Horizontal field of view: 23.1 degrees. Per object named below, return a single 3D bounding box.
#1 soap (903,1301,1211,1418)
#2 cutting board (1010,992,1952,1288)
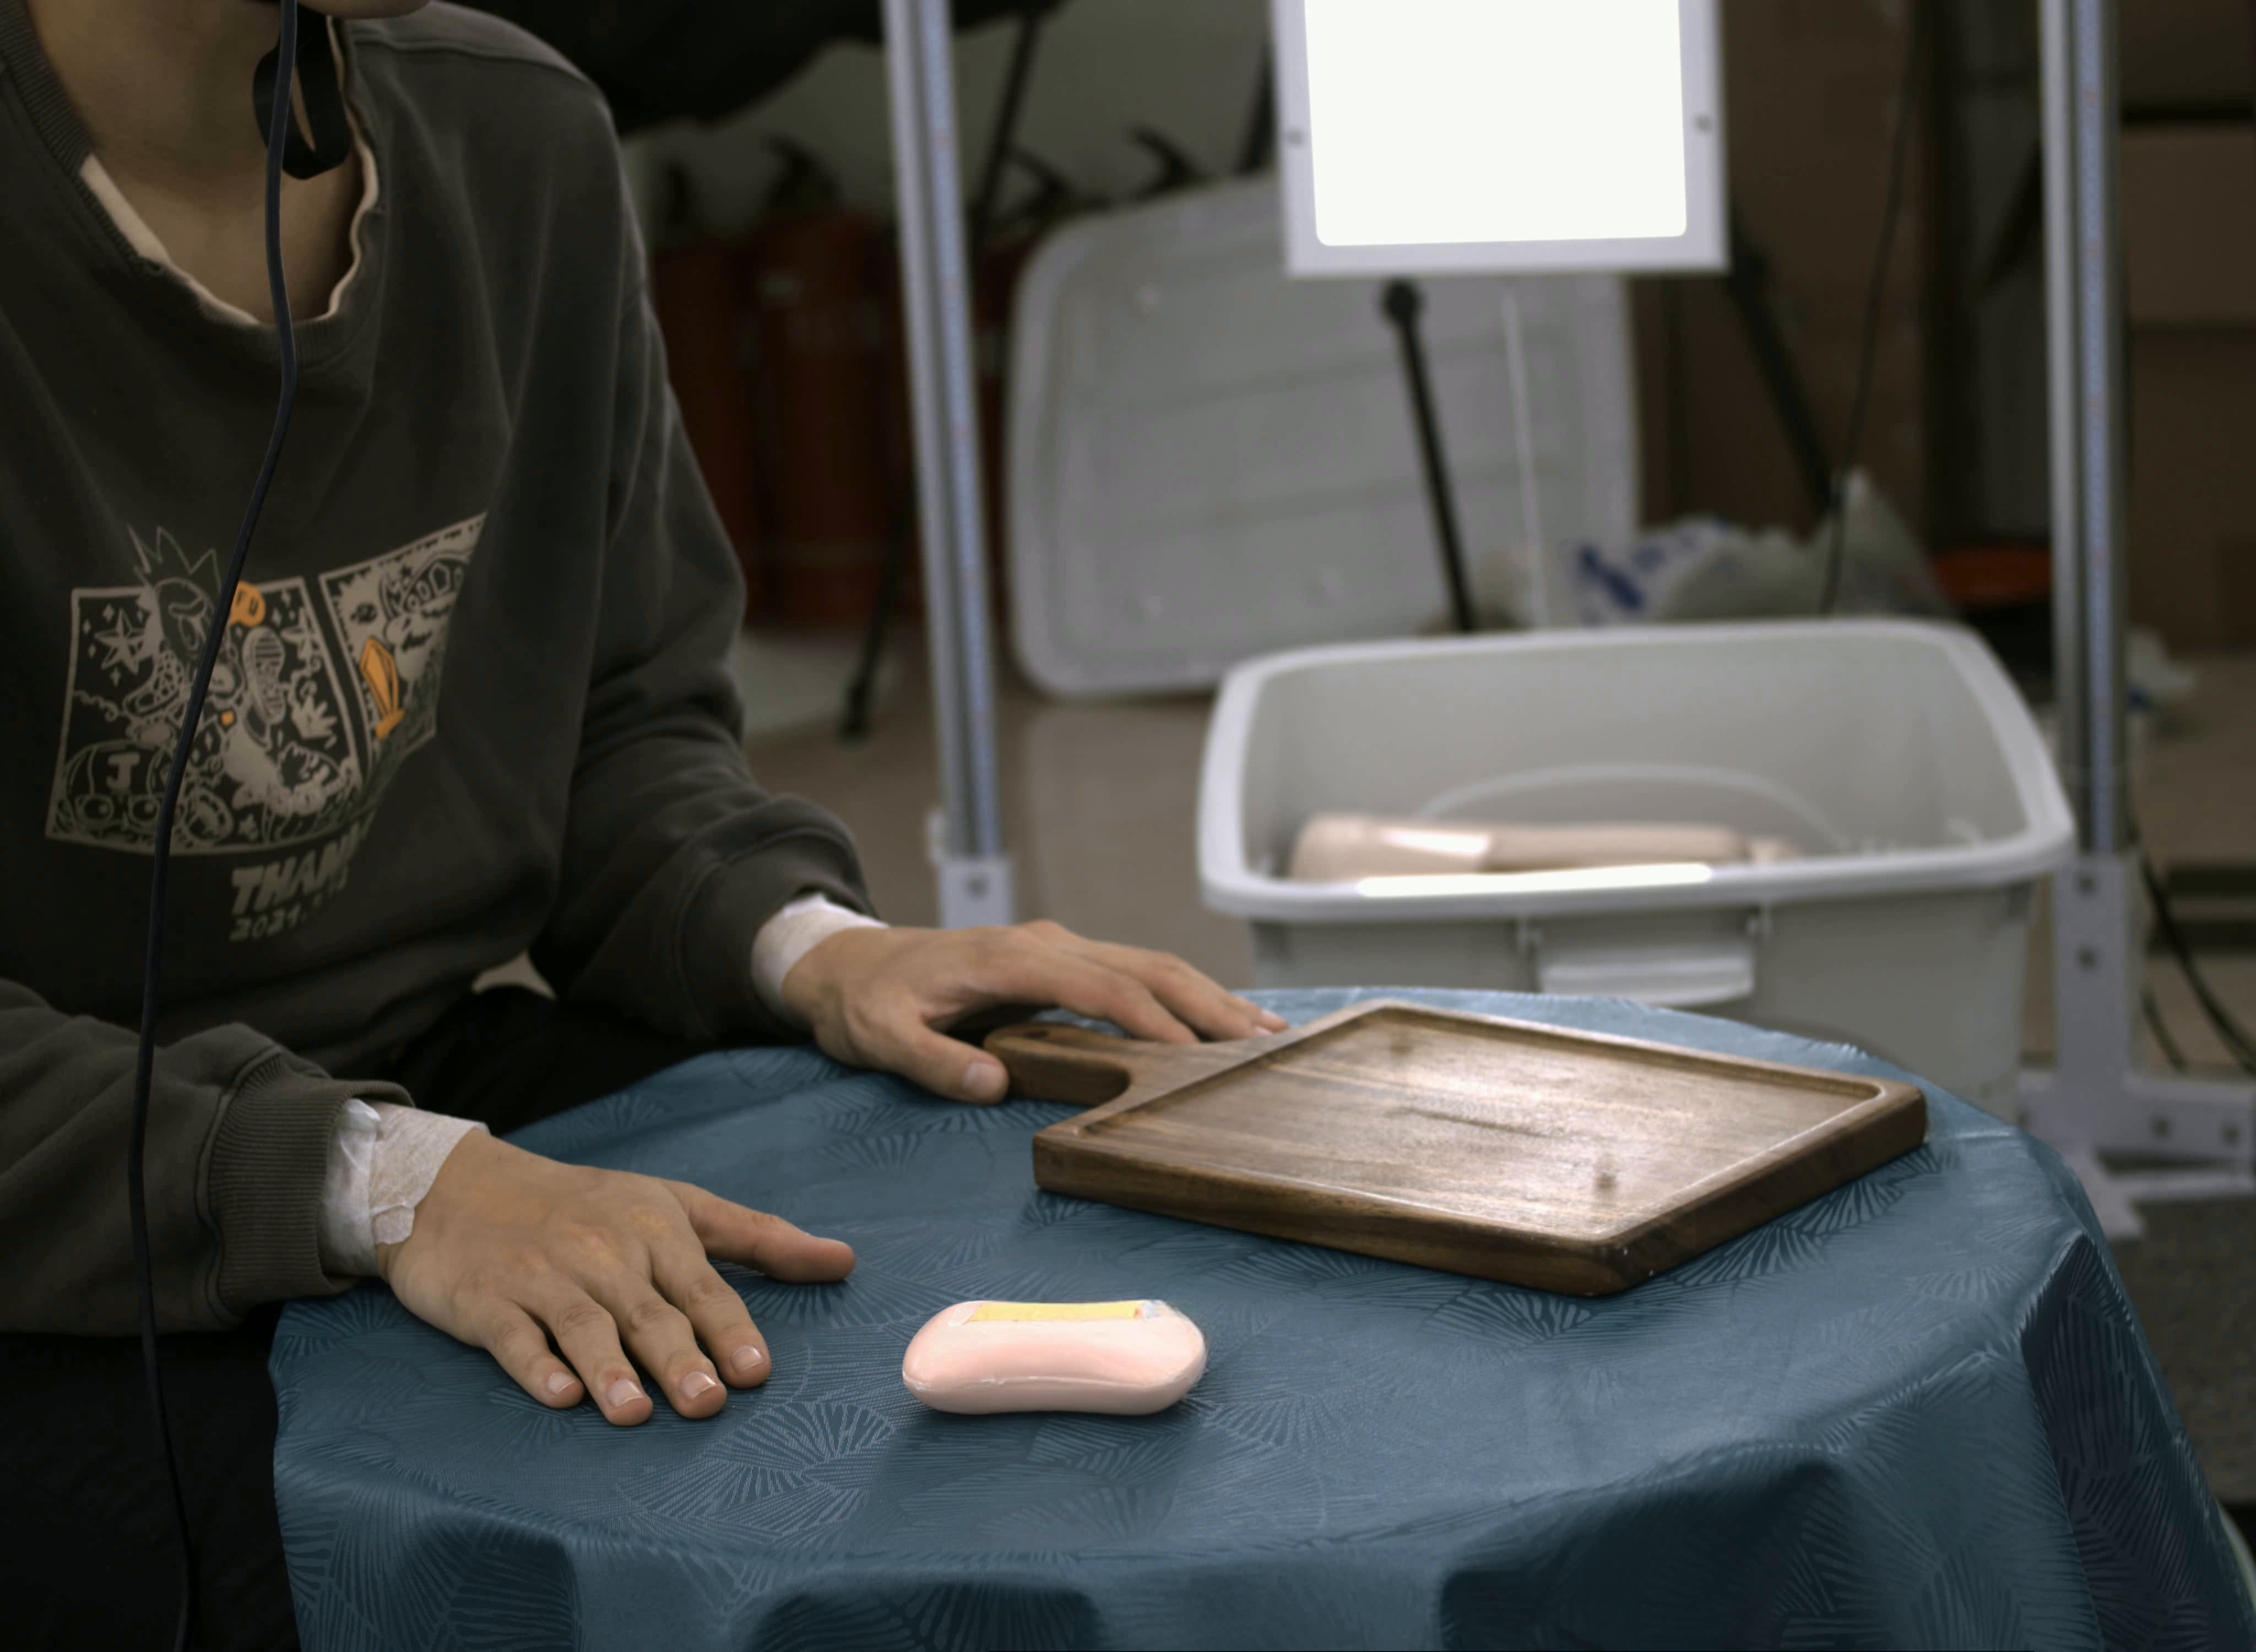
[{"bbox_3d":[-0.021,0.164,1.694,0.095,0.030,0.049,-3,13,16],"label":"soap"},{"bbox_3d":[0.094,0.099,1.930,0.360,0.023,0.196,8,19,43],"label":"cutting board"}]
